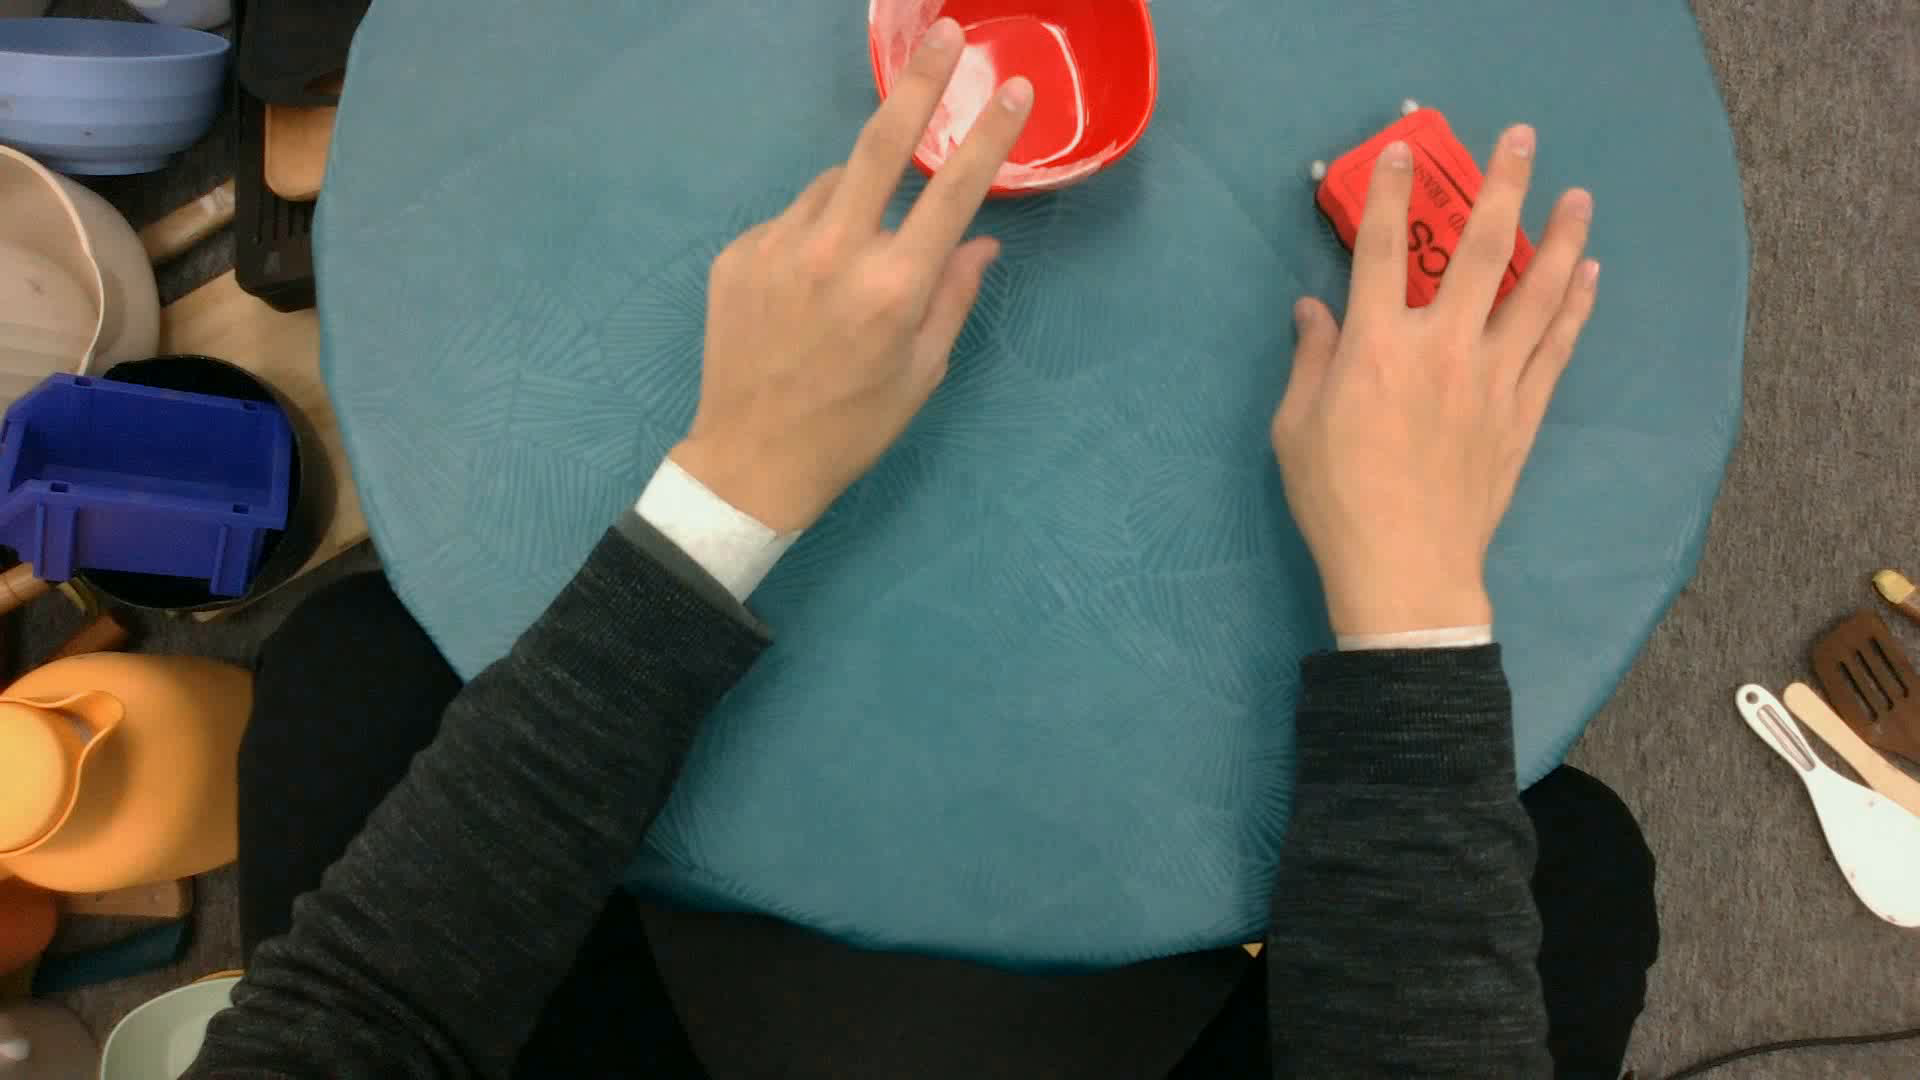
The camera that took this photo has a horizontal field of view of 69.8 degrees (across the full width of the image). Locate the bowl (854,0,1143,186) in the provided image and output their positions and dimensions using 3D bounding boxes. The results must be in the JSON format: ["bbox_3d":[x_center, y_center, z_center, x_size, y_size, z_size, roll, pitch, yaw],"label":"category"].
[{"bbox_3d":[0.014,-0.191,0.559,0.119,0.051,0.119,0,83,-4],"label":"bowl"}]

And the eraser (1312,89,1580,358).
[{"bbox_3d":[0.204,-0.133,0.578,0.108,0.023,0.059,45,83,-2],"label":"eraser"}]
